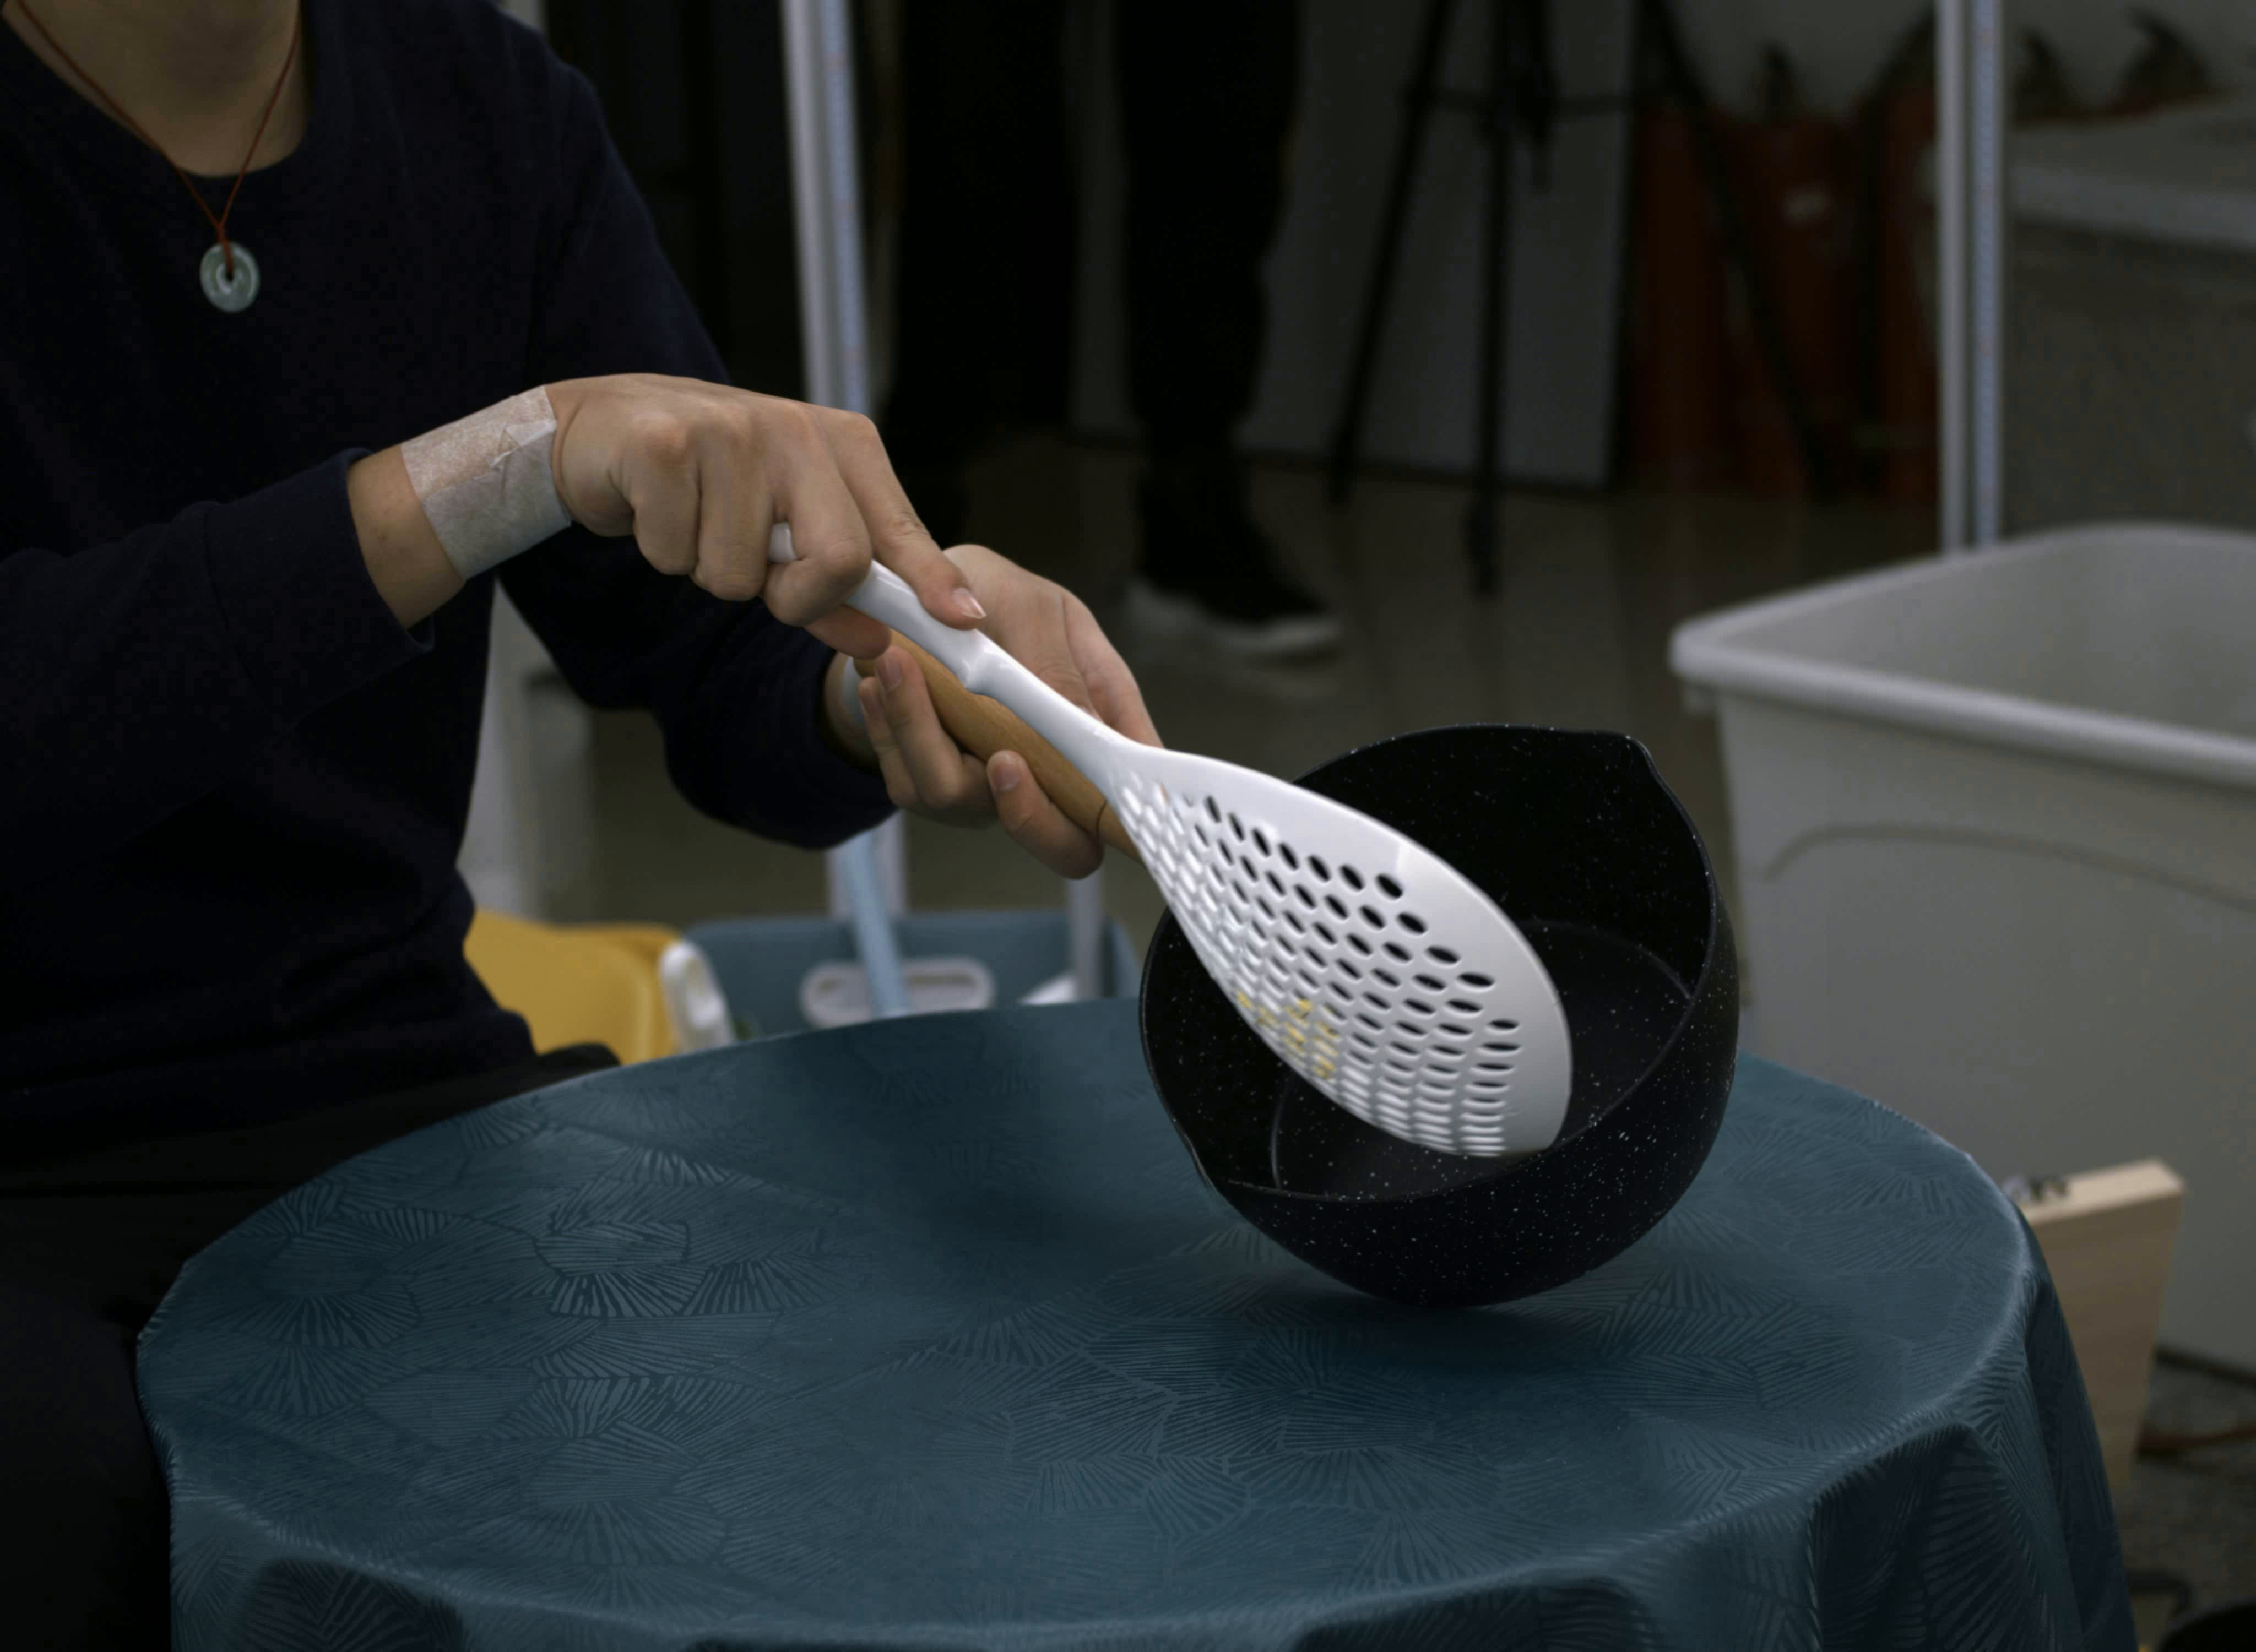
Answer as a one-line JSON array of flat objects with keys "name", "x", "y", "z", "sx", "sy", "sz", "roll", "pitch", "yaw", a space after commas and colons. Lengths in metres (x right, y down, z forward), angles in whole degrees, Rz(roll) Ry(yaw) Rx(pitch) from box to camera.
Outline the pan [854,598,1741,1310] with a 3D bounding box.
[{"name": "pan", "x": 0.043, "y": 0.027, "z": 1.698, "sx": 0.346, "sy": 0.107, "sz": 0.206, "roll": 27, "pitch": 67, "yaw": 39}]

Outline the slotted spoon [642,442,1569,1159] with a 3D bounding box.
[{"name": "slotted spoon", "x": -0.011, "y": -0.016, "z": 1.597, "sx": 0.050, "sy": 0.137, "sz": 0.350, "roll": -38, "pitch": 64, "yaw": -24}]
